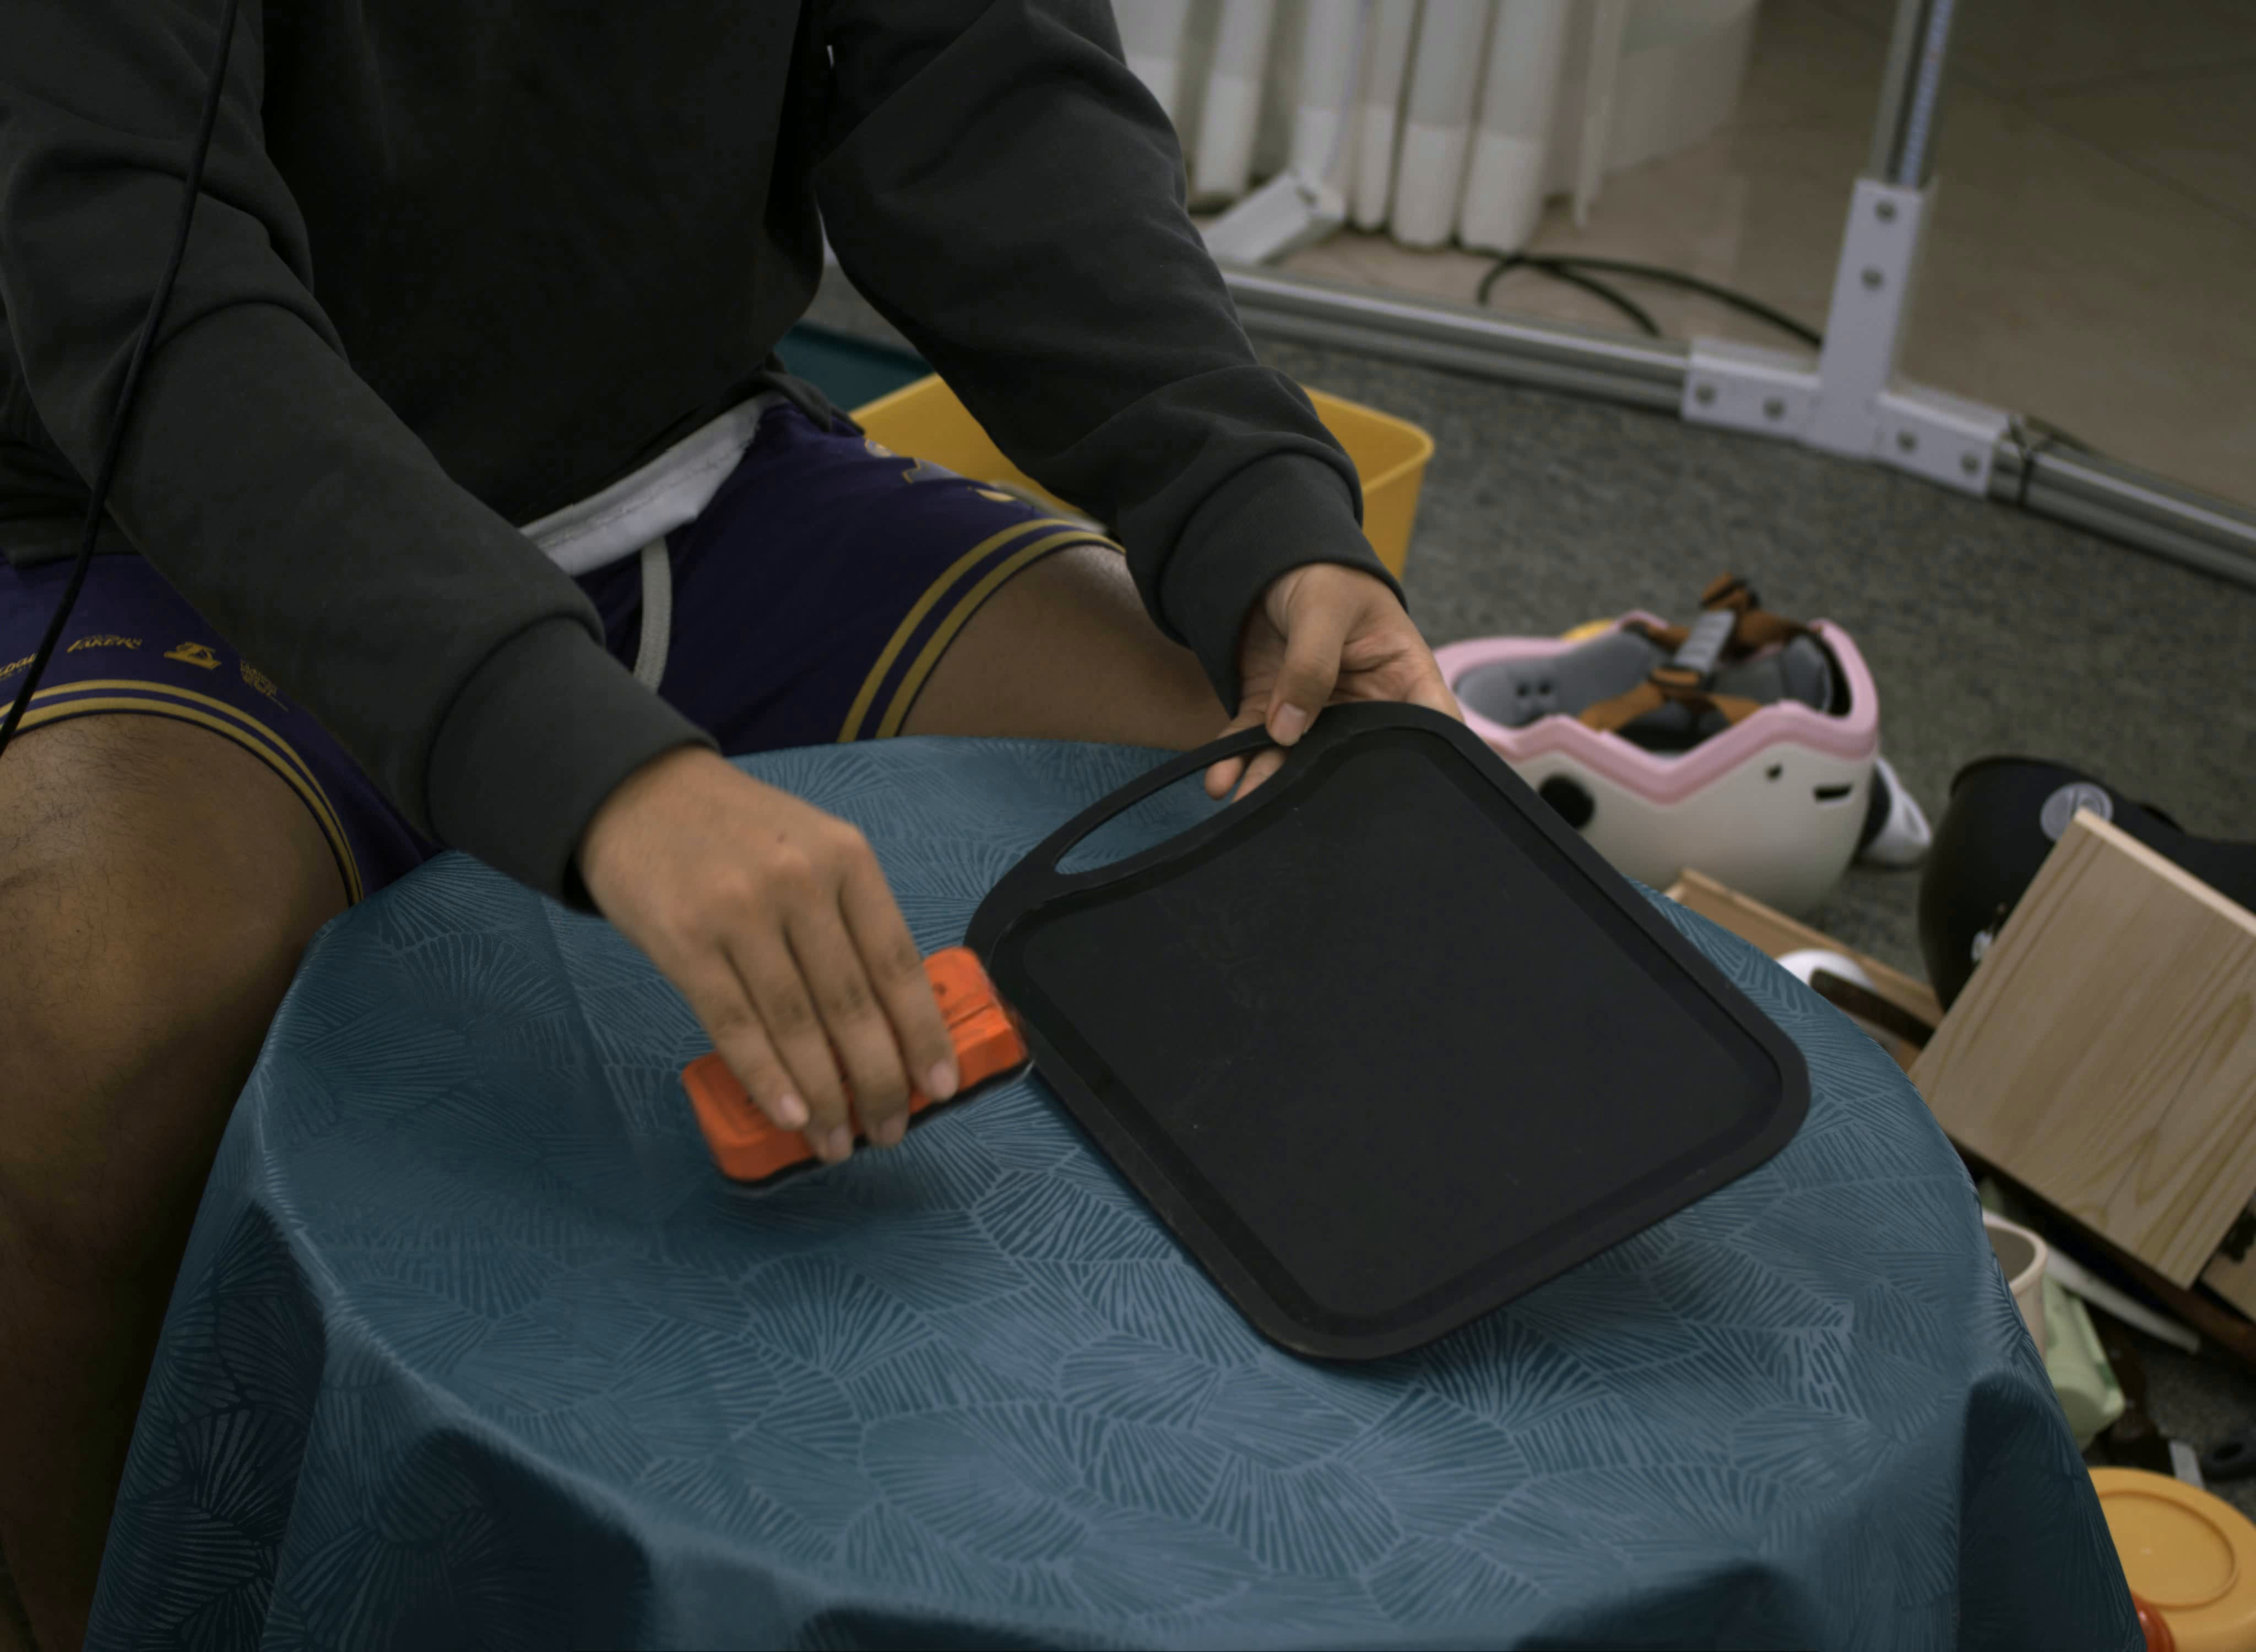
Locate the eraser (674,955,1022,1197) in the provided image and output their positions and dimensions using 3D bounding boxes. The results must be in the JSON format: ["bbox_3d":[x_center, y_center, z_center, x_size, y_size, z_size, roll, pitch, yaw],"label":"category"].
[{"bbox_3d":[-0.093,0.082,1.764,0.107,0.023,0.059,-22,35,-14],"label":"eraser"}]

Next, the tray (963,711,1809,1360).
[{"bbox_3d":[0.078,0.061,1.844,0.210,0.010,0.328,-26,39,-13],"label":"tray"}]
